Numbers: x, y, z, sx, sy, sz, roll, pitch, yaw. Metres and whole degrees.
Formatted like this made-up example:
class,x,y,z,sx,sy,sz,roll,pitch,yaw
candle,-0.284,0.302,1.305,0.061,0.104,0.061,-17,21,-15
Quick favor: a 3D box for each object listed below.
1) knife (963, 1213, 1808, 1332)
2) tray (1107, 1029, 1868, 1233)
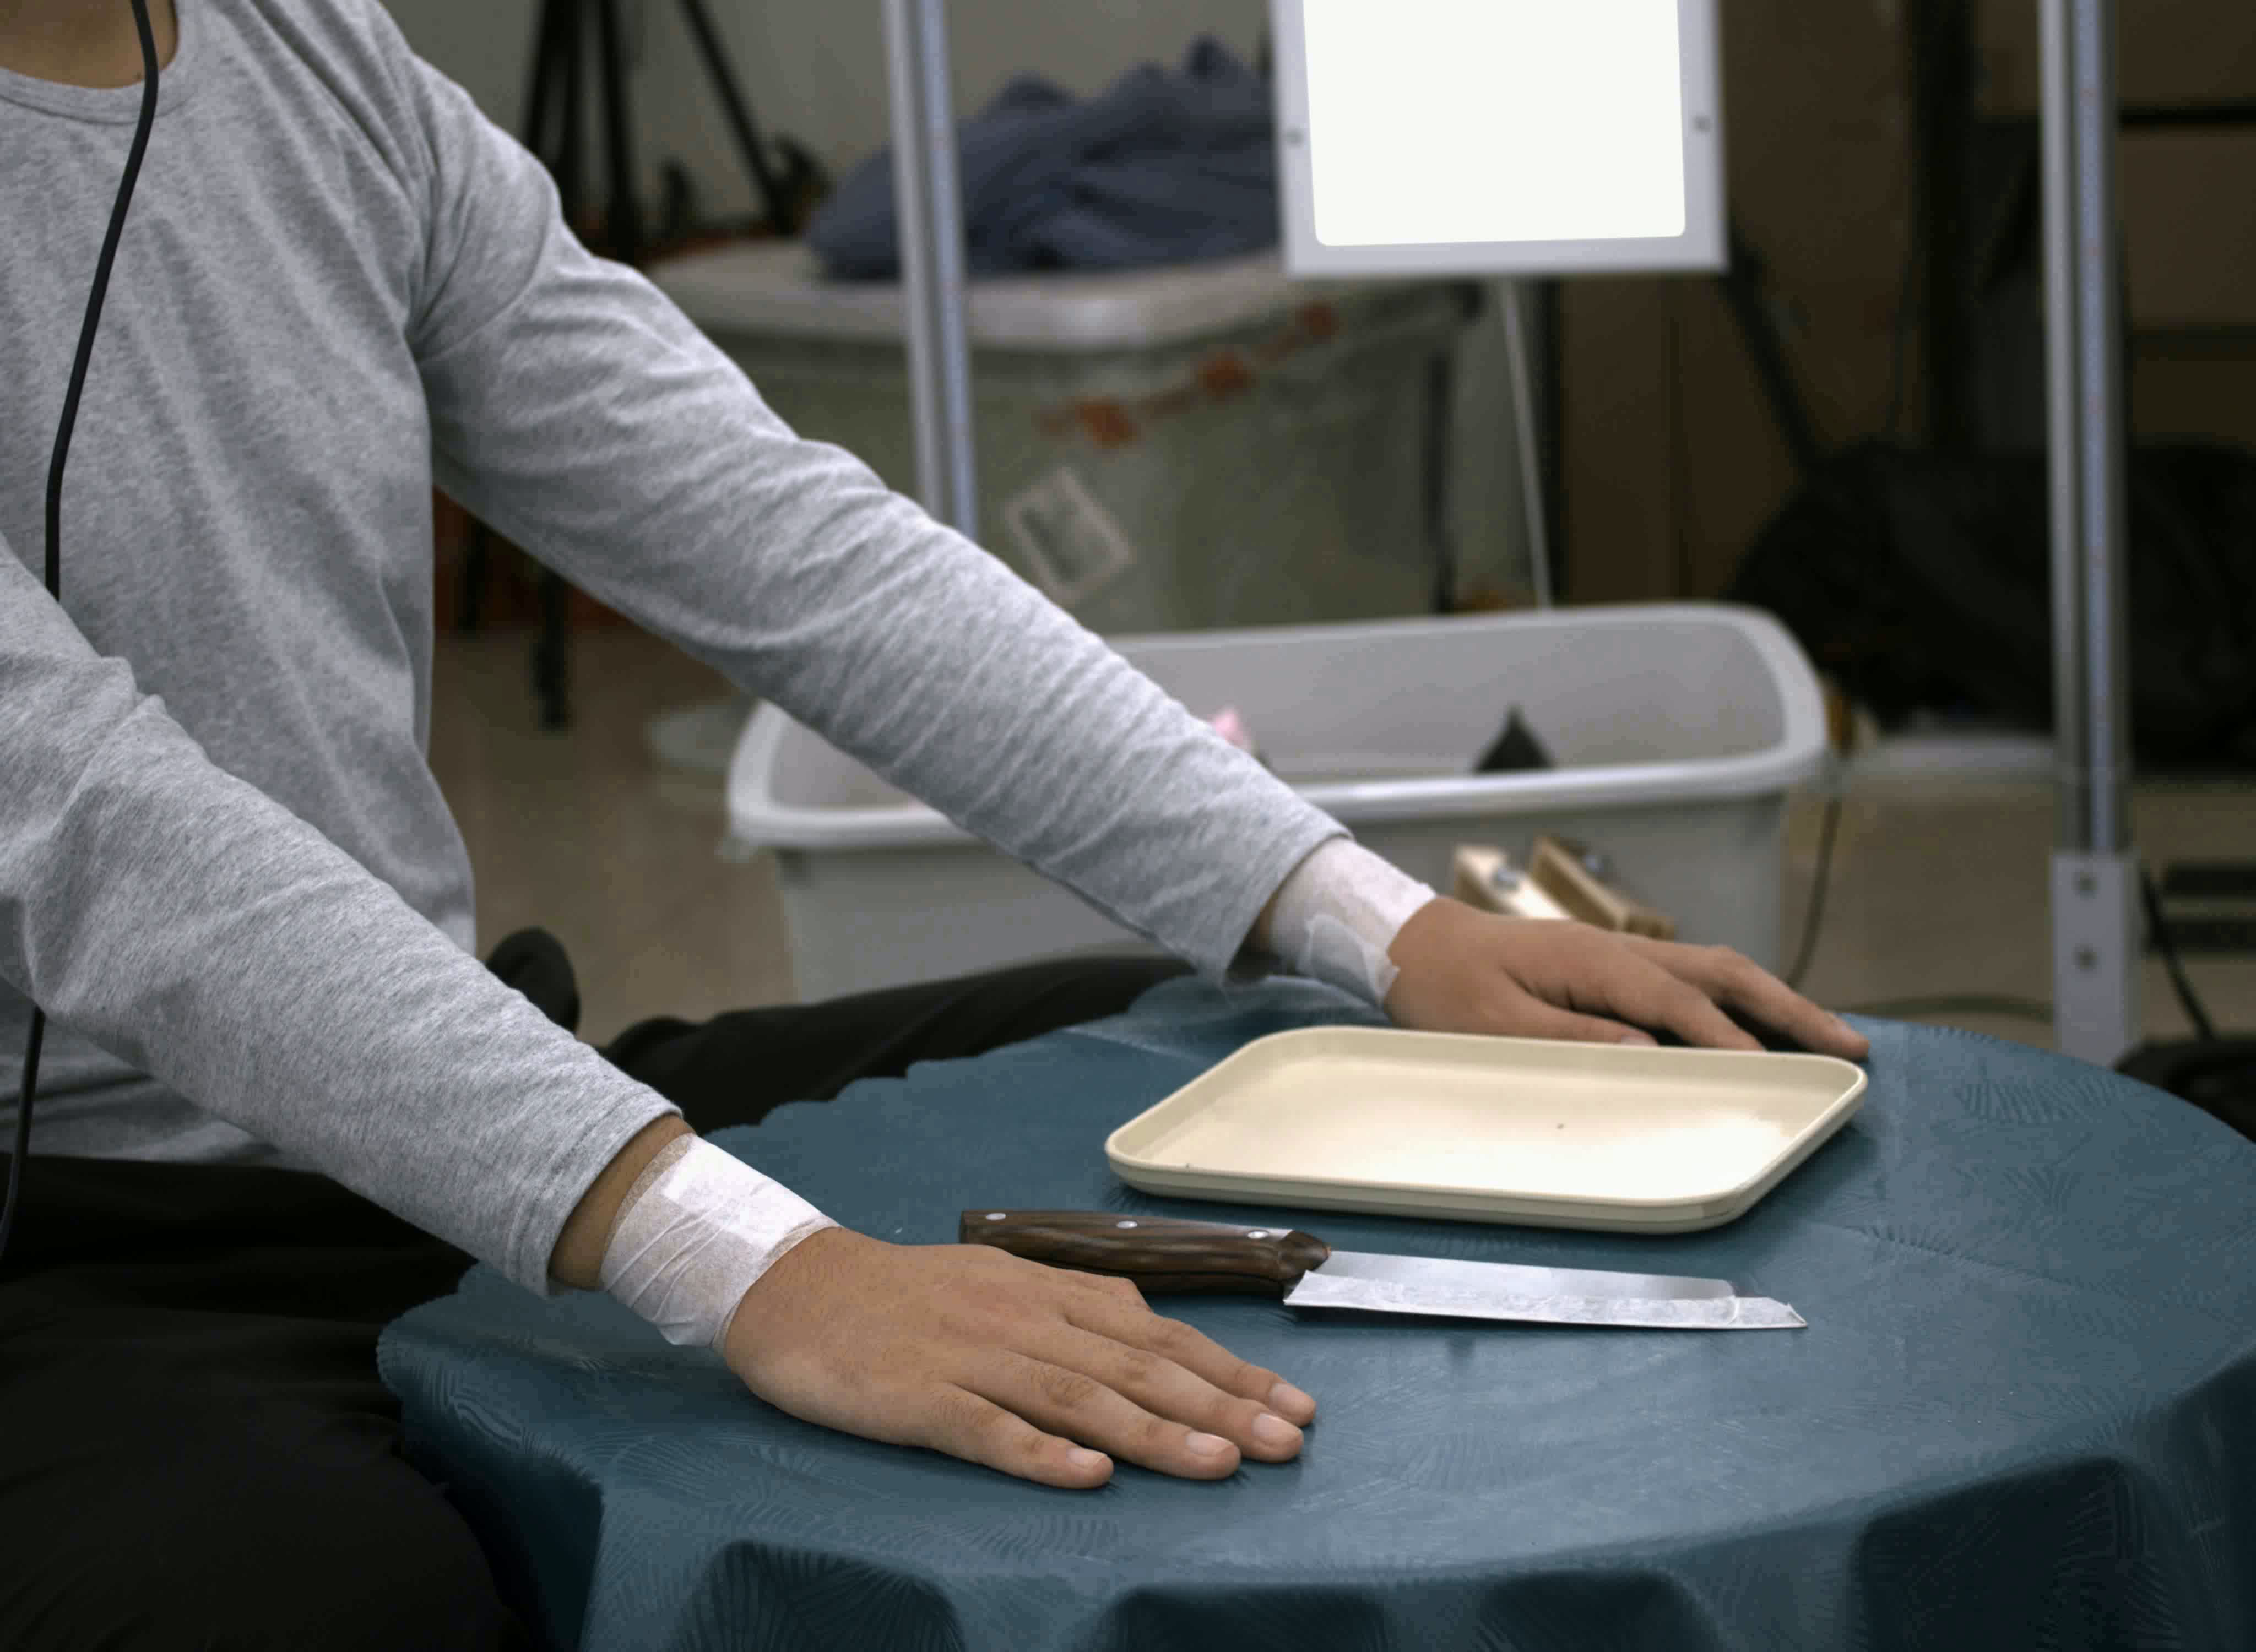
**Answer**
class,x,y,z,sx,sy,sz,roll,pitch,yaw
knife,0.079,0.146,1.765,0.293,0.020,0.049,3,21,23
tray,0.126,0.105,1.908,0.244,0.017,0.167,2,15,29
